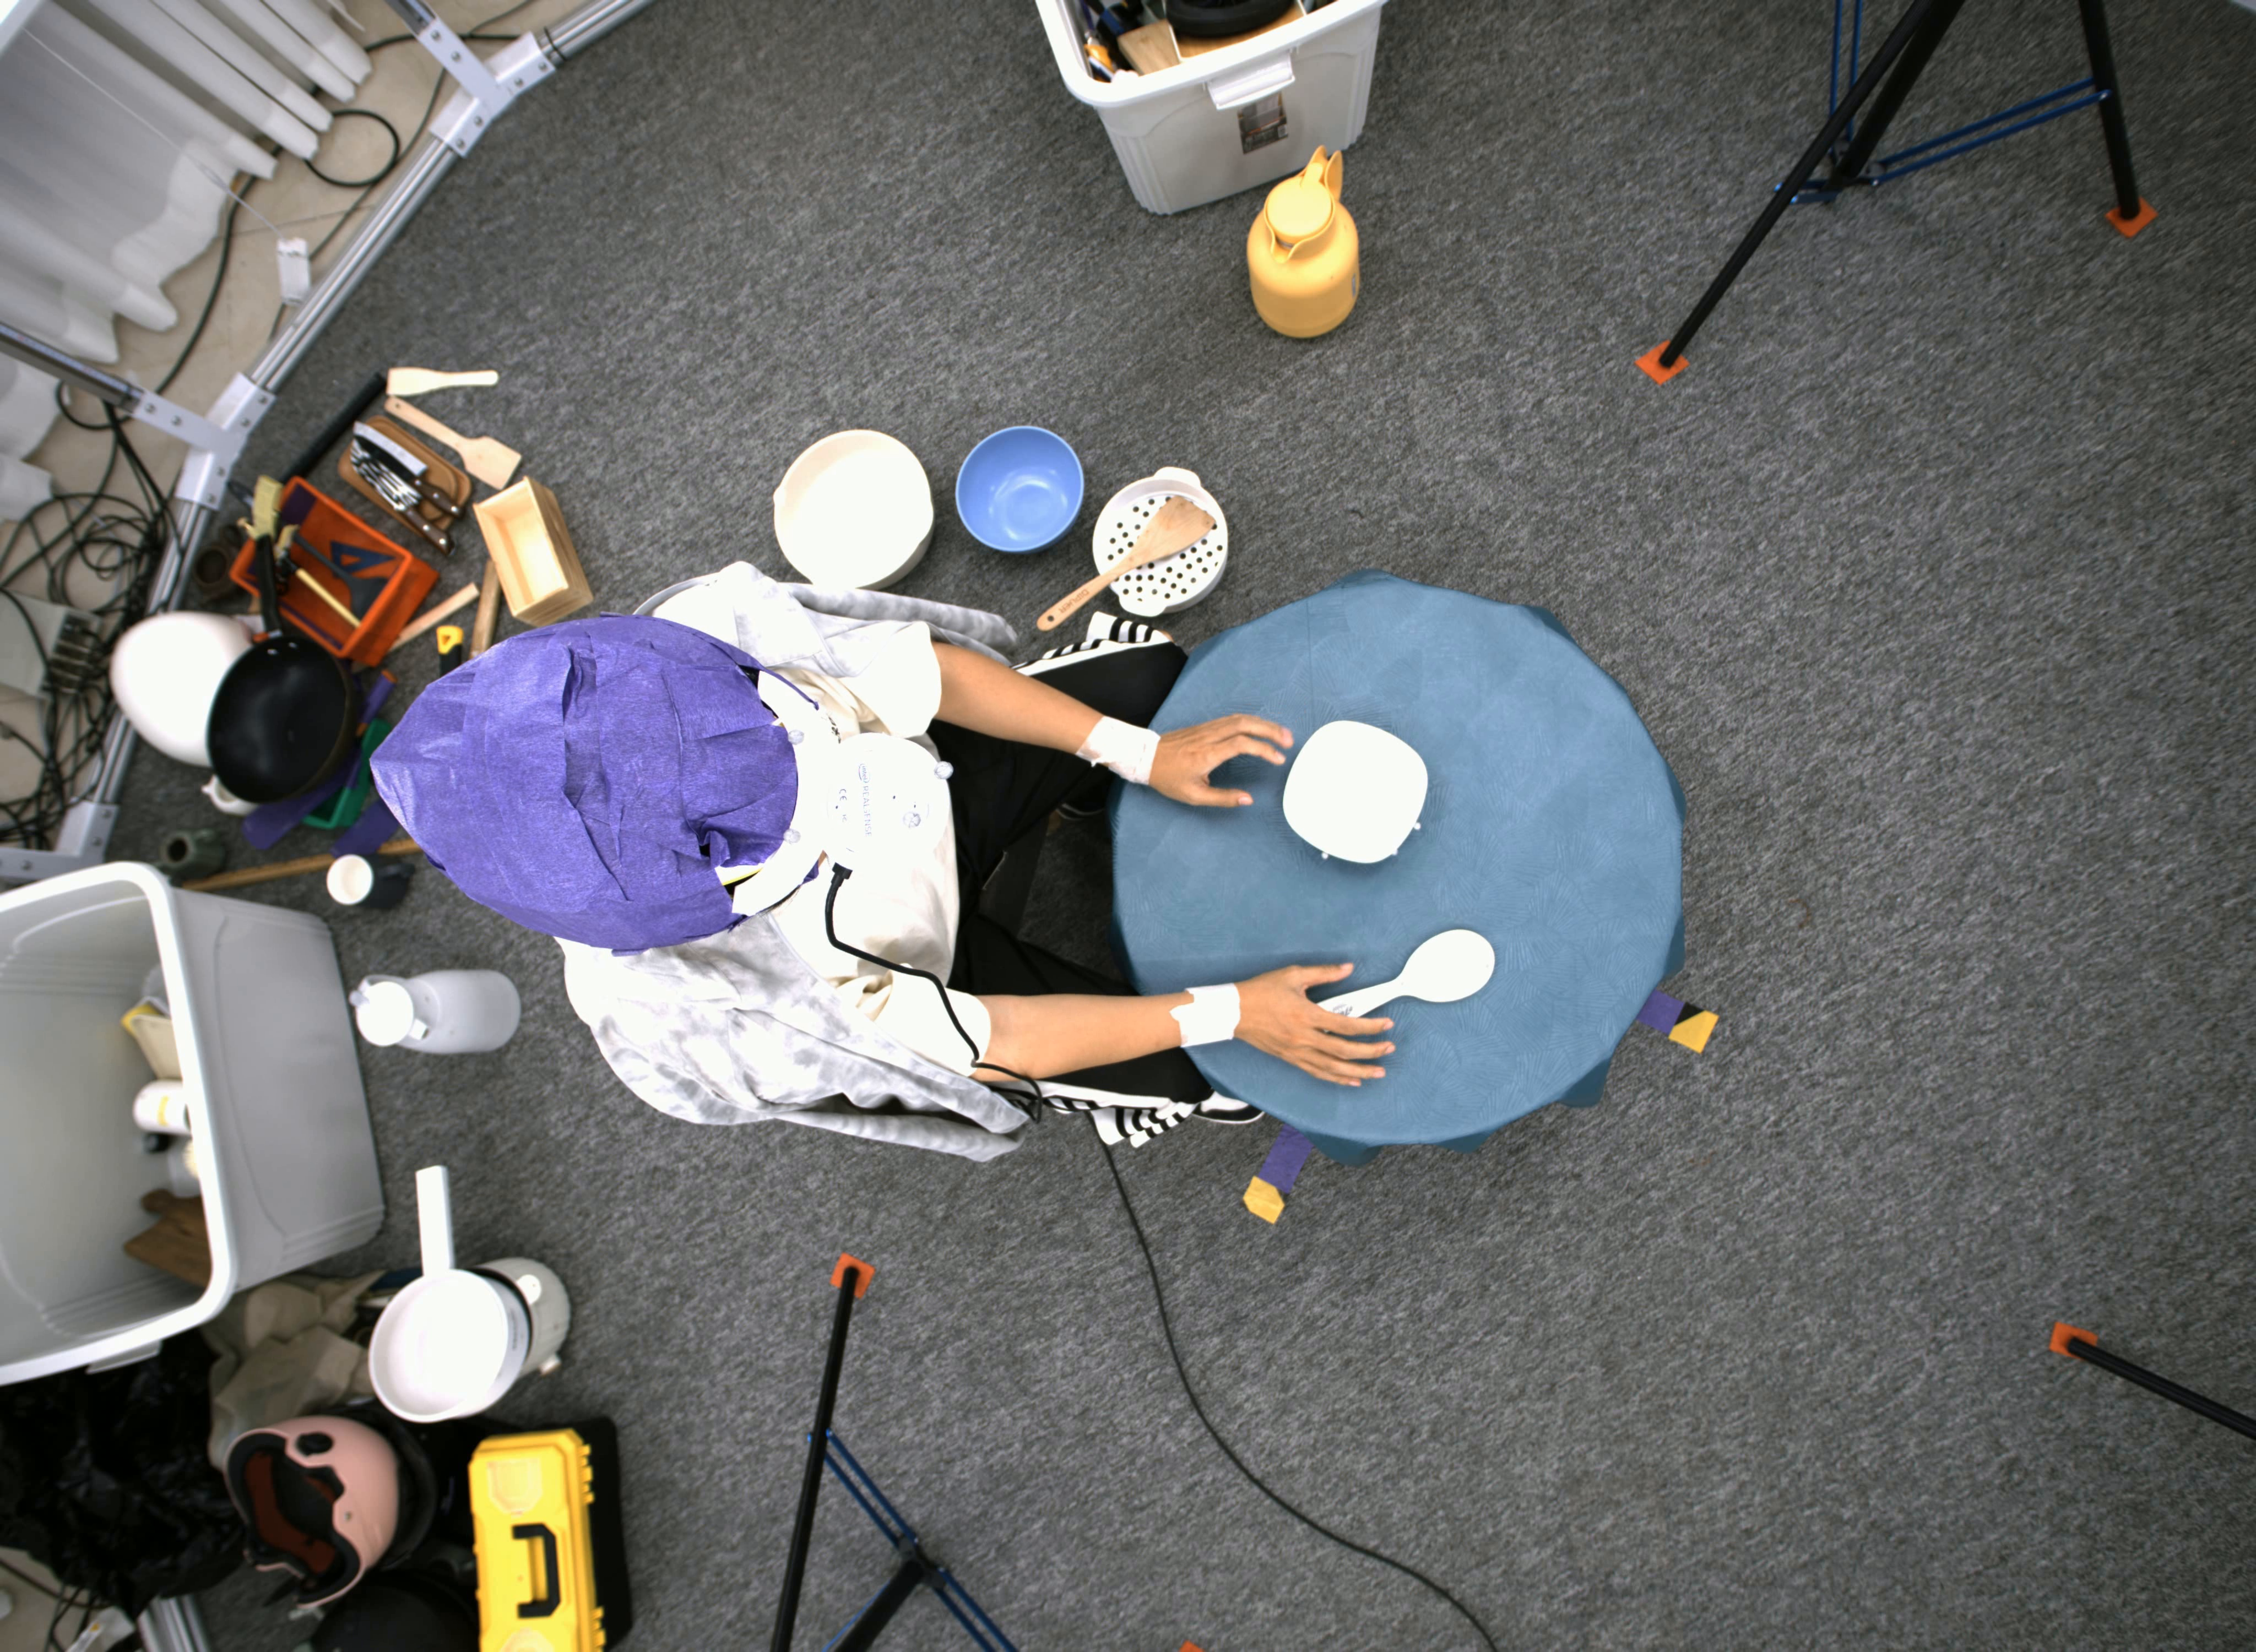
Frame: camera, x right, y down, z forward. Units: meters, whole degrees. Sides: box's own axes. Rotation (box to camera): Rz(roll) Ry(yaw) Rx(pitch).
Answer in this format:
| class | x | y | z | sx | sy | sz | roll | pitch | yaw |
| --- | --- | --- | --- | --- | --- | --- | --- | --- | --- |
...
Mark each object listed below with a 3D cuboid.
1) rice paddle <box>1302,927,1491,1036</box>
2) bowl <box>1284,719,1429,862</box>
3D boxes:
| class | x | y | z | sx | sy | sz | roll | pitch | yaw |
| --- | --- | --- | --- | --- | --- | --- | --- | --- | --- |
| rice paddle | 0.280 | 0.163 | 1.436 | 0.206 | 0.029 | 0.068 | -24 | 84 | 9 |
| bowl | 0.238 | -0.037 | 1.439 | 0.152 | 0.058 | 0.151 | 0 | 90 | 9 |
